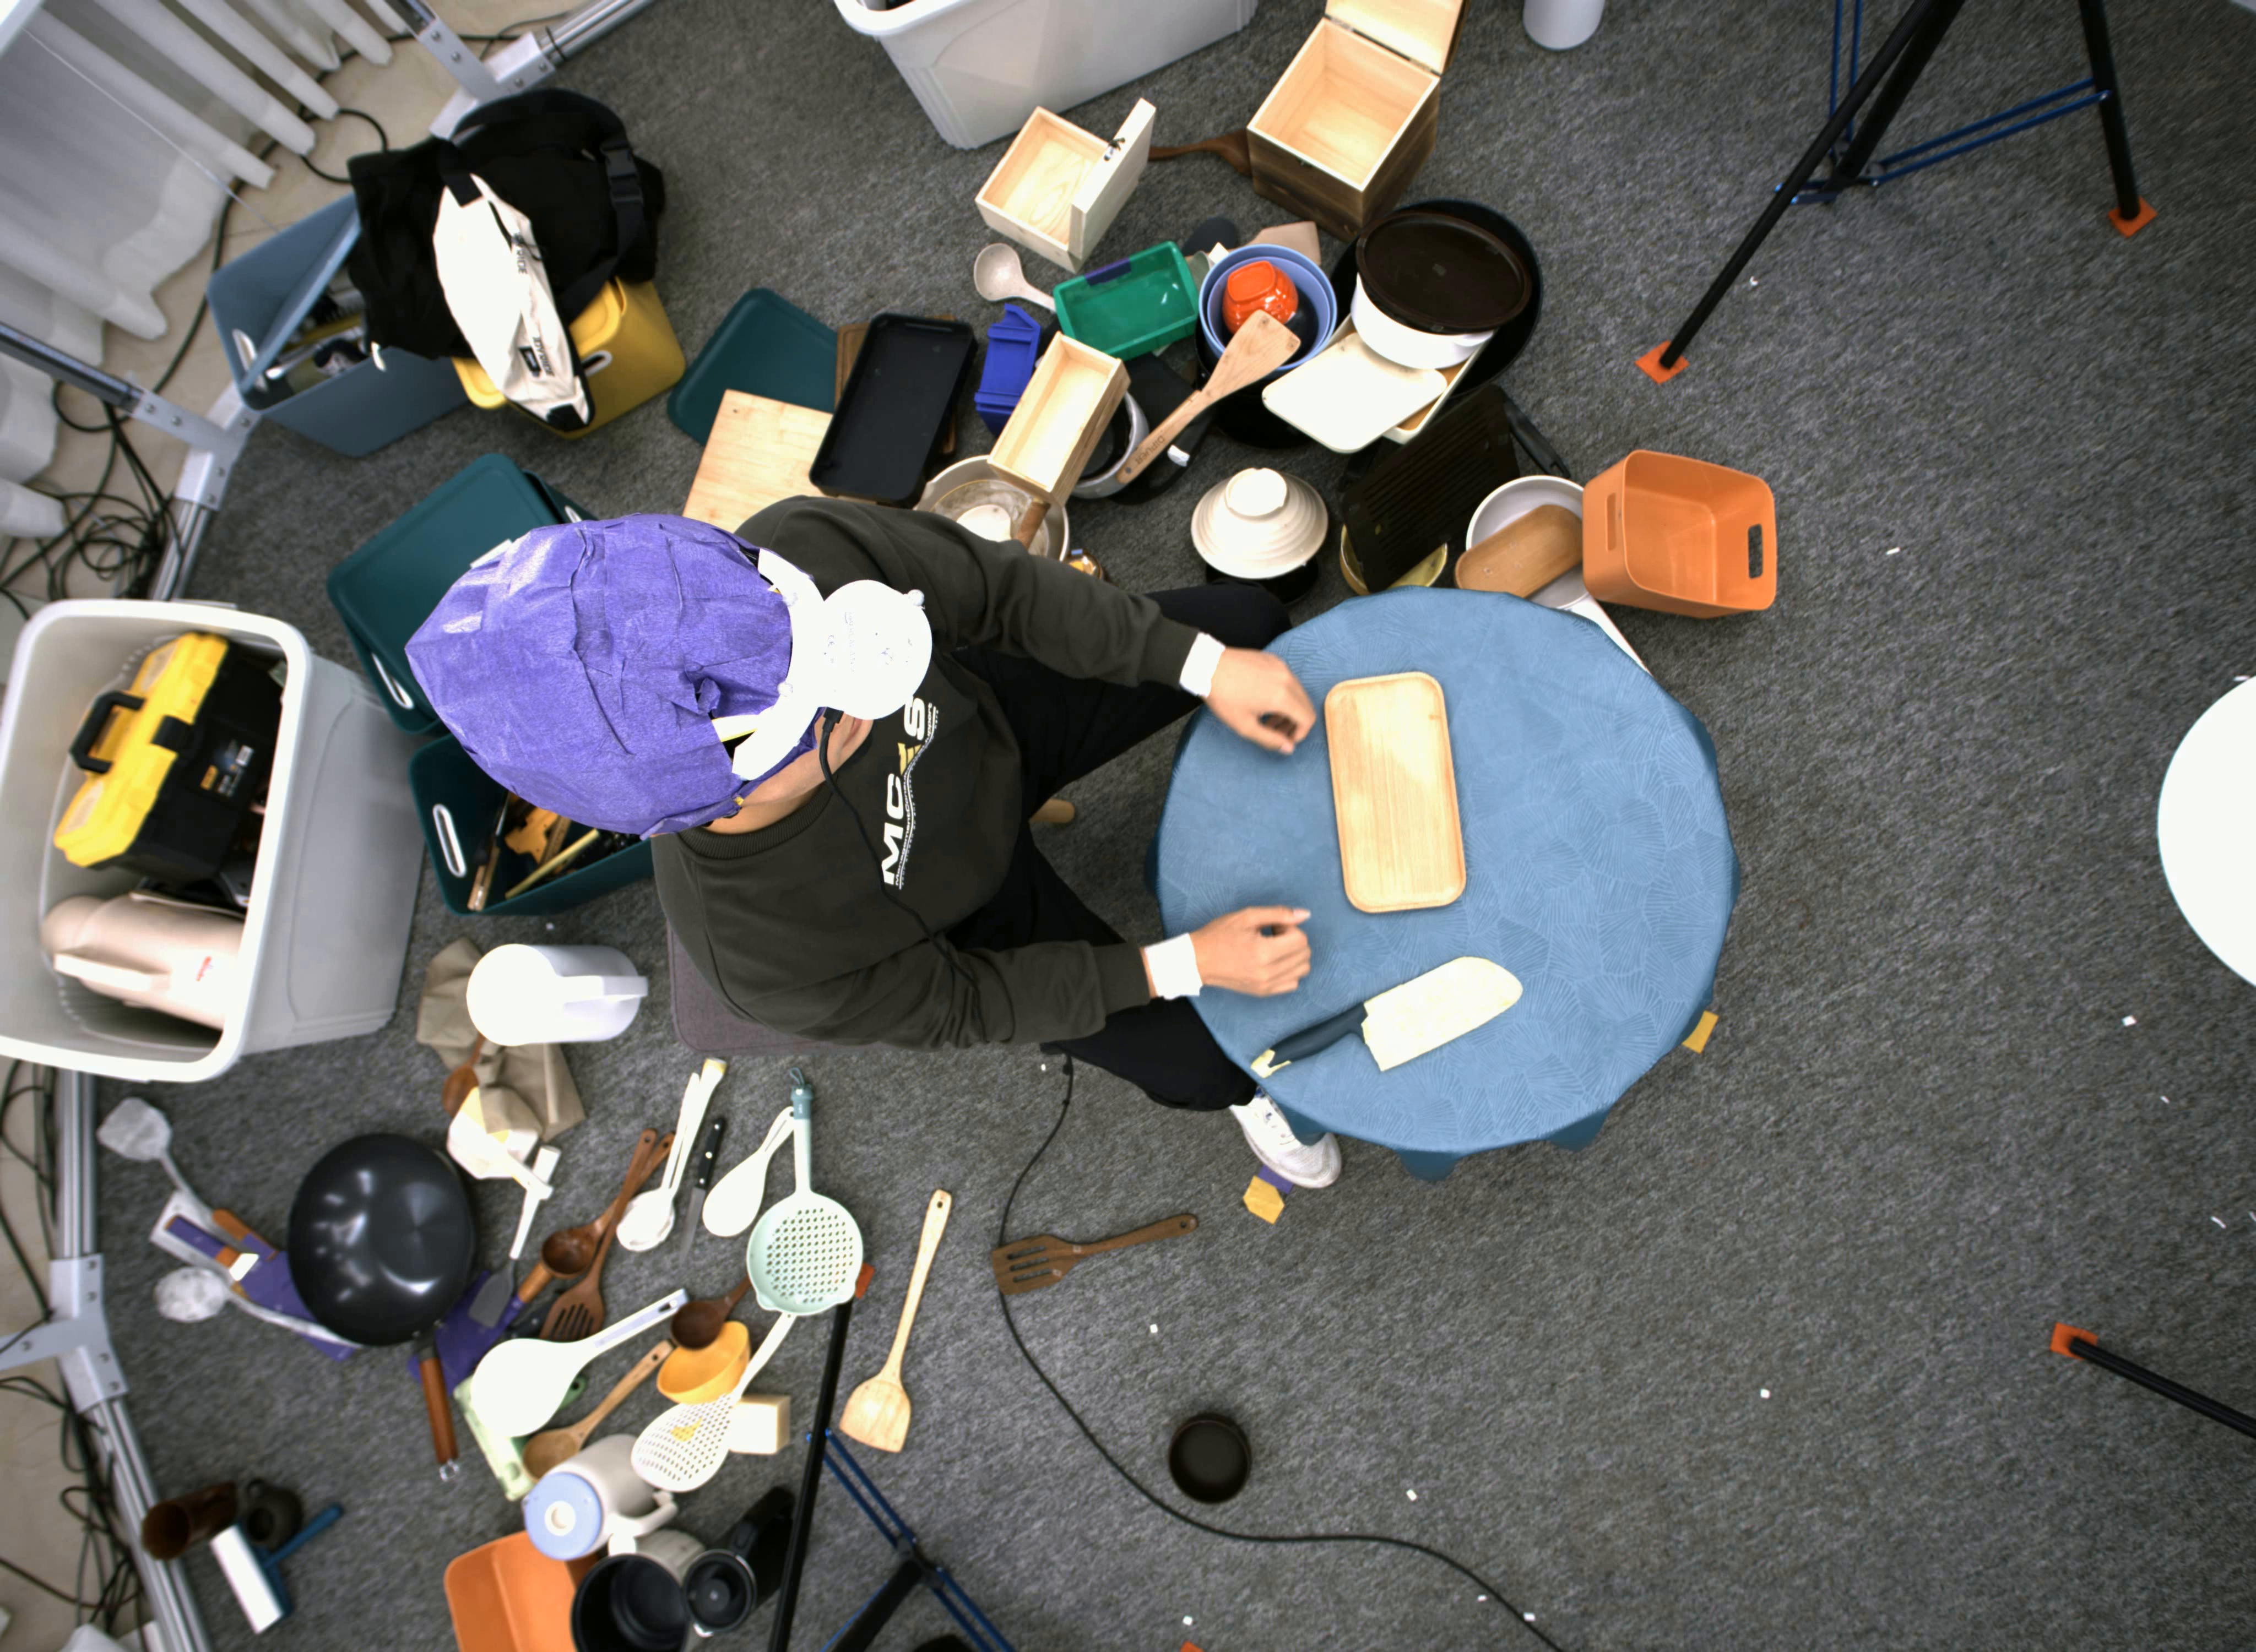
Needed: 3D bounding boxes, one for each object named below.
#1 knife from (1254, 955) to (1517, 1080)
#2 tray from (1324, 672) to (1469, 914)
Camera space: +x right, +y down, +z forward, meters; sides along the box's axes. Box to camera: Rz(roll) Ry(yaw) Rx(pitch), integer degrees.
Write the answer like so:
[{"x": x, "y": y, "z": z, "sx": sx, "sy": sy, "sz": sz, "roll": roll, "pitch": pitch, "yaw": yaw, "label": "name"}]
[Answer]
[{"x": 0.271, "y": 0.210, "z": 1.445, "sx": 0.291, "sy": 0.027, "sz": 0.080, "roll": -24, "pitch": 81, "yaw": 8, "label": "knife"}, {"x": 0.283, "y": -0.037, "z": 1.455, "sx": 0.131, "sy": 0.023, "sz": 0.249, "roll": -7, "pitch": 86, "yaw": 13, "label": "tray"}]
